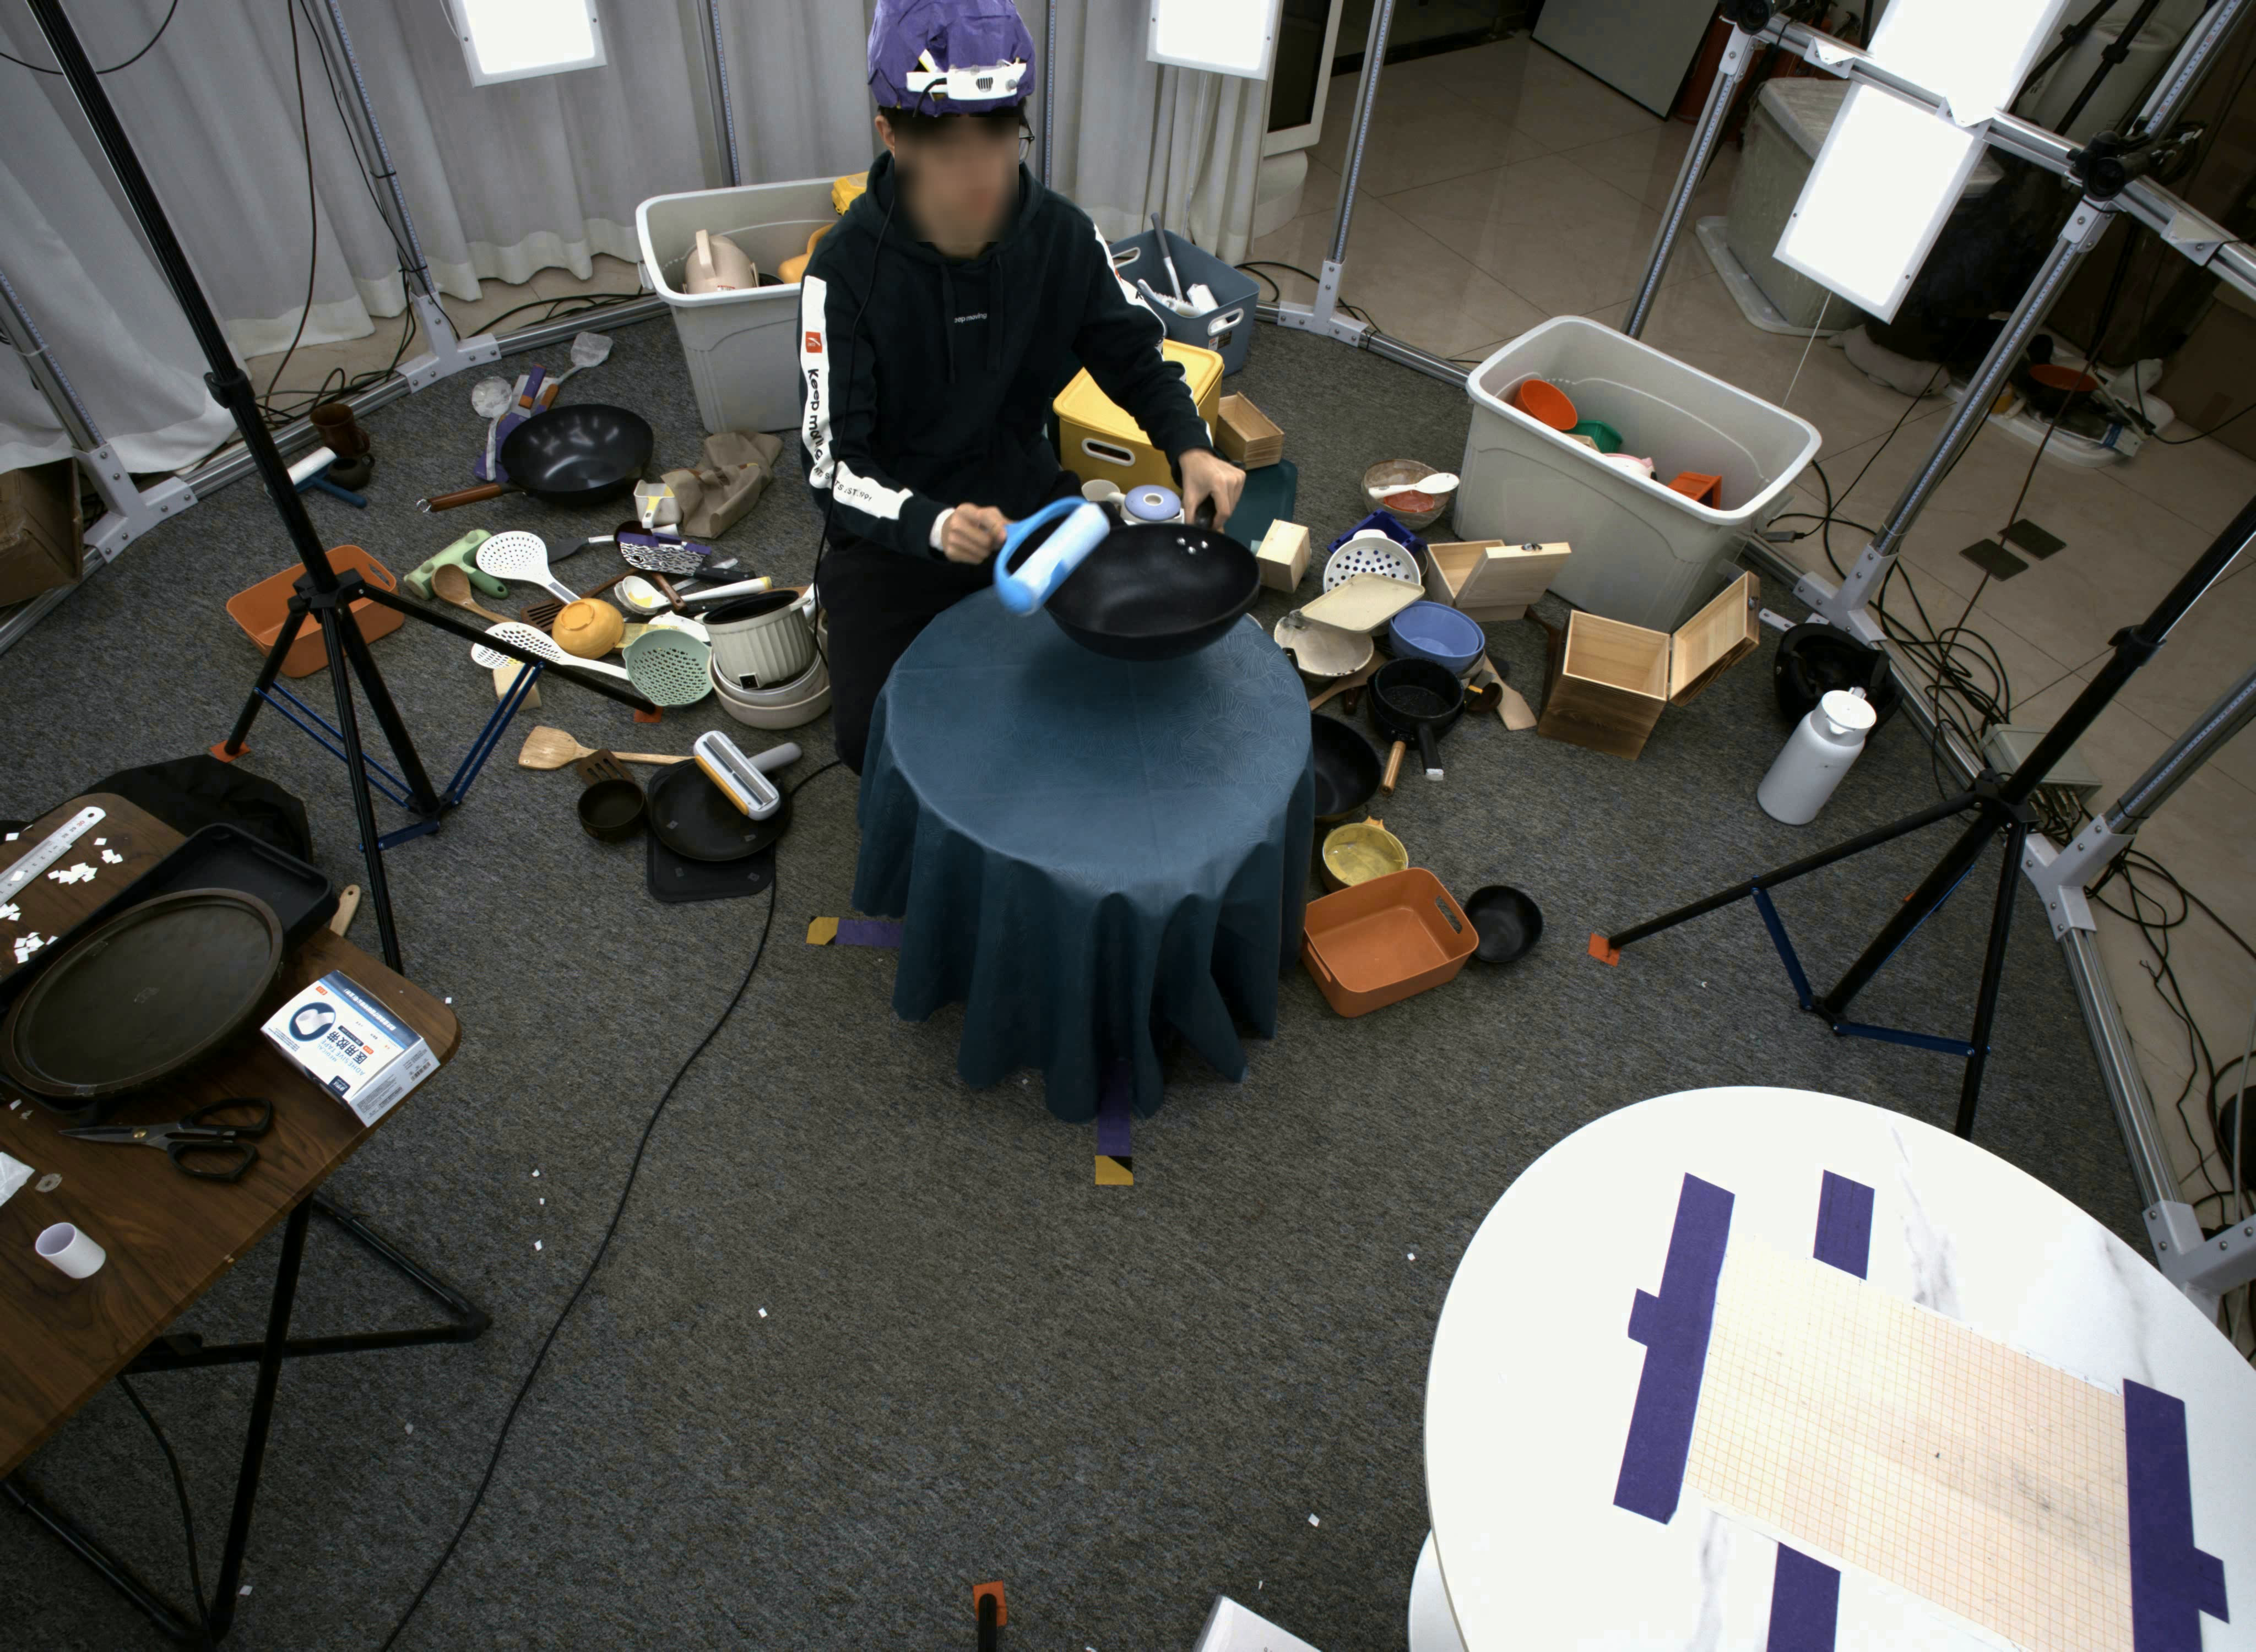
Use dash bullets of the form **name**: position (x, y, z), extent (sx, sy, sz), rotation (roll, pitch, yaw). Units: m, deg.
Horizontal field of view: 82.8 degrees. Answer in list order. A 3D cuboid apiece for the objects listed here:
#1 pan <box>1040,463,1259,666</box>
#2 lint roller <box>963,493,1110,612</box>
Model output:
- **pan**: position (0.063, -0.368, 1.834), extent (0.312, 0.109, 0.485), rotation (16, 44, 21)
- **lint roller**: position (-0.141, -0.368, 1.700), extent (0.181, 0.066, 0.233), rotation (12, 47, 18)
